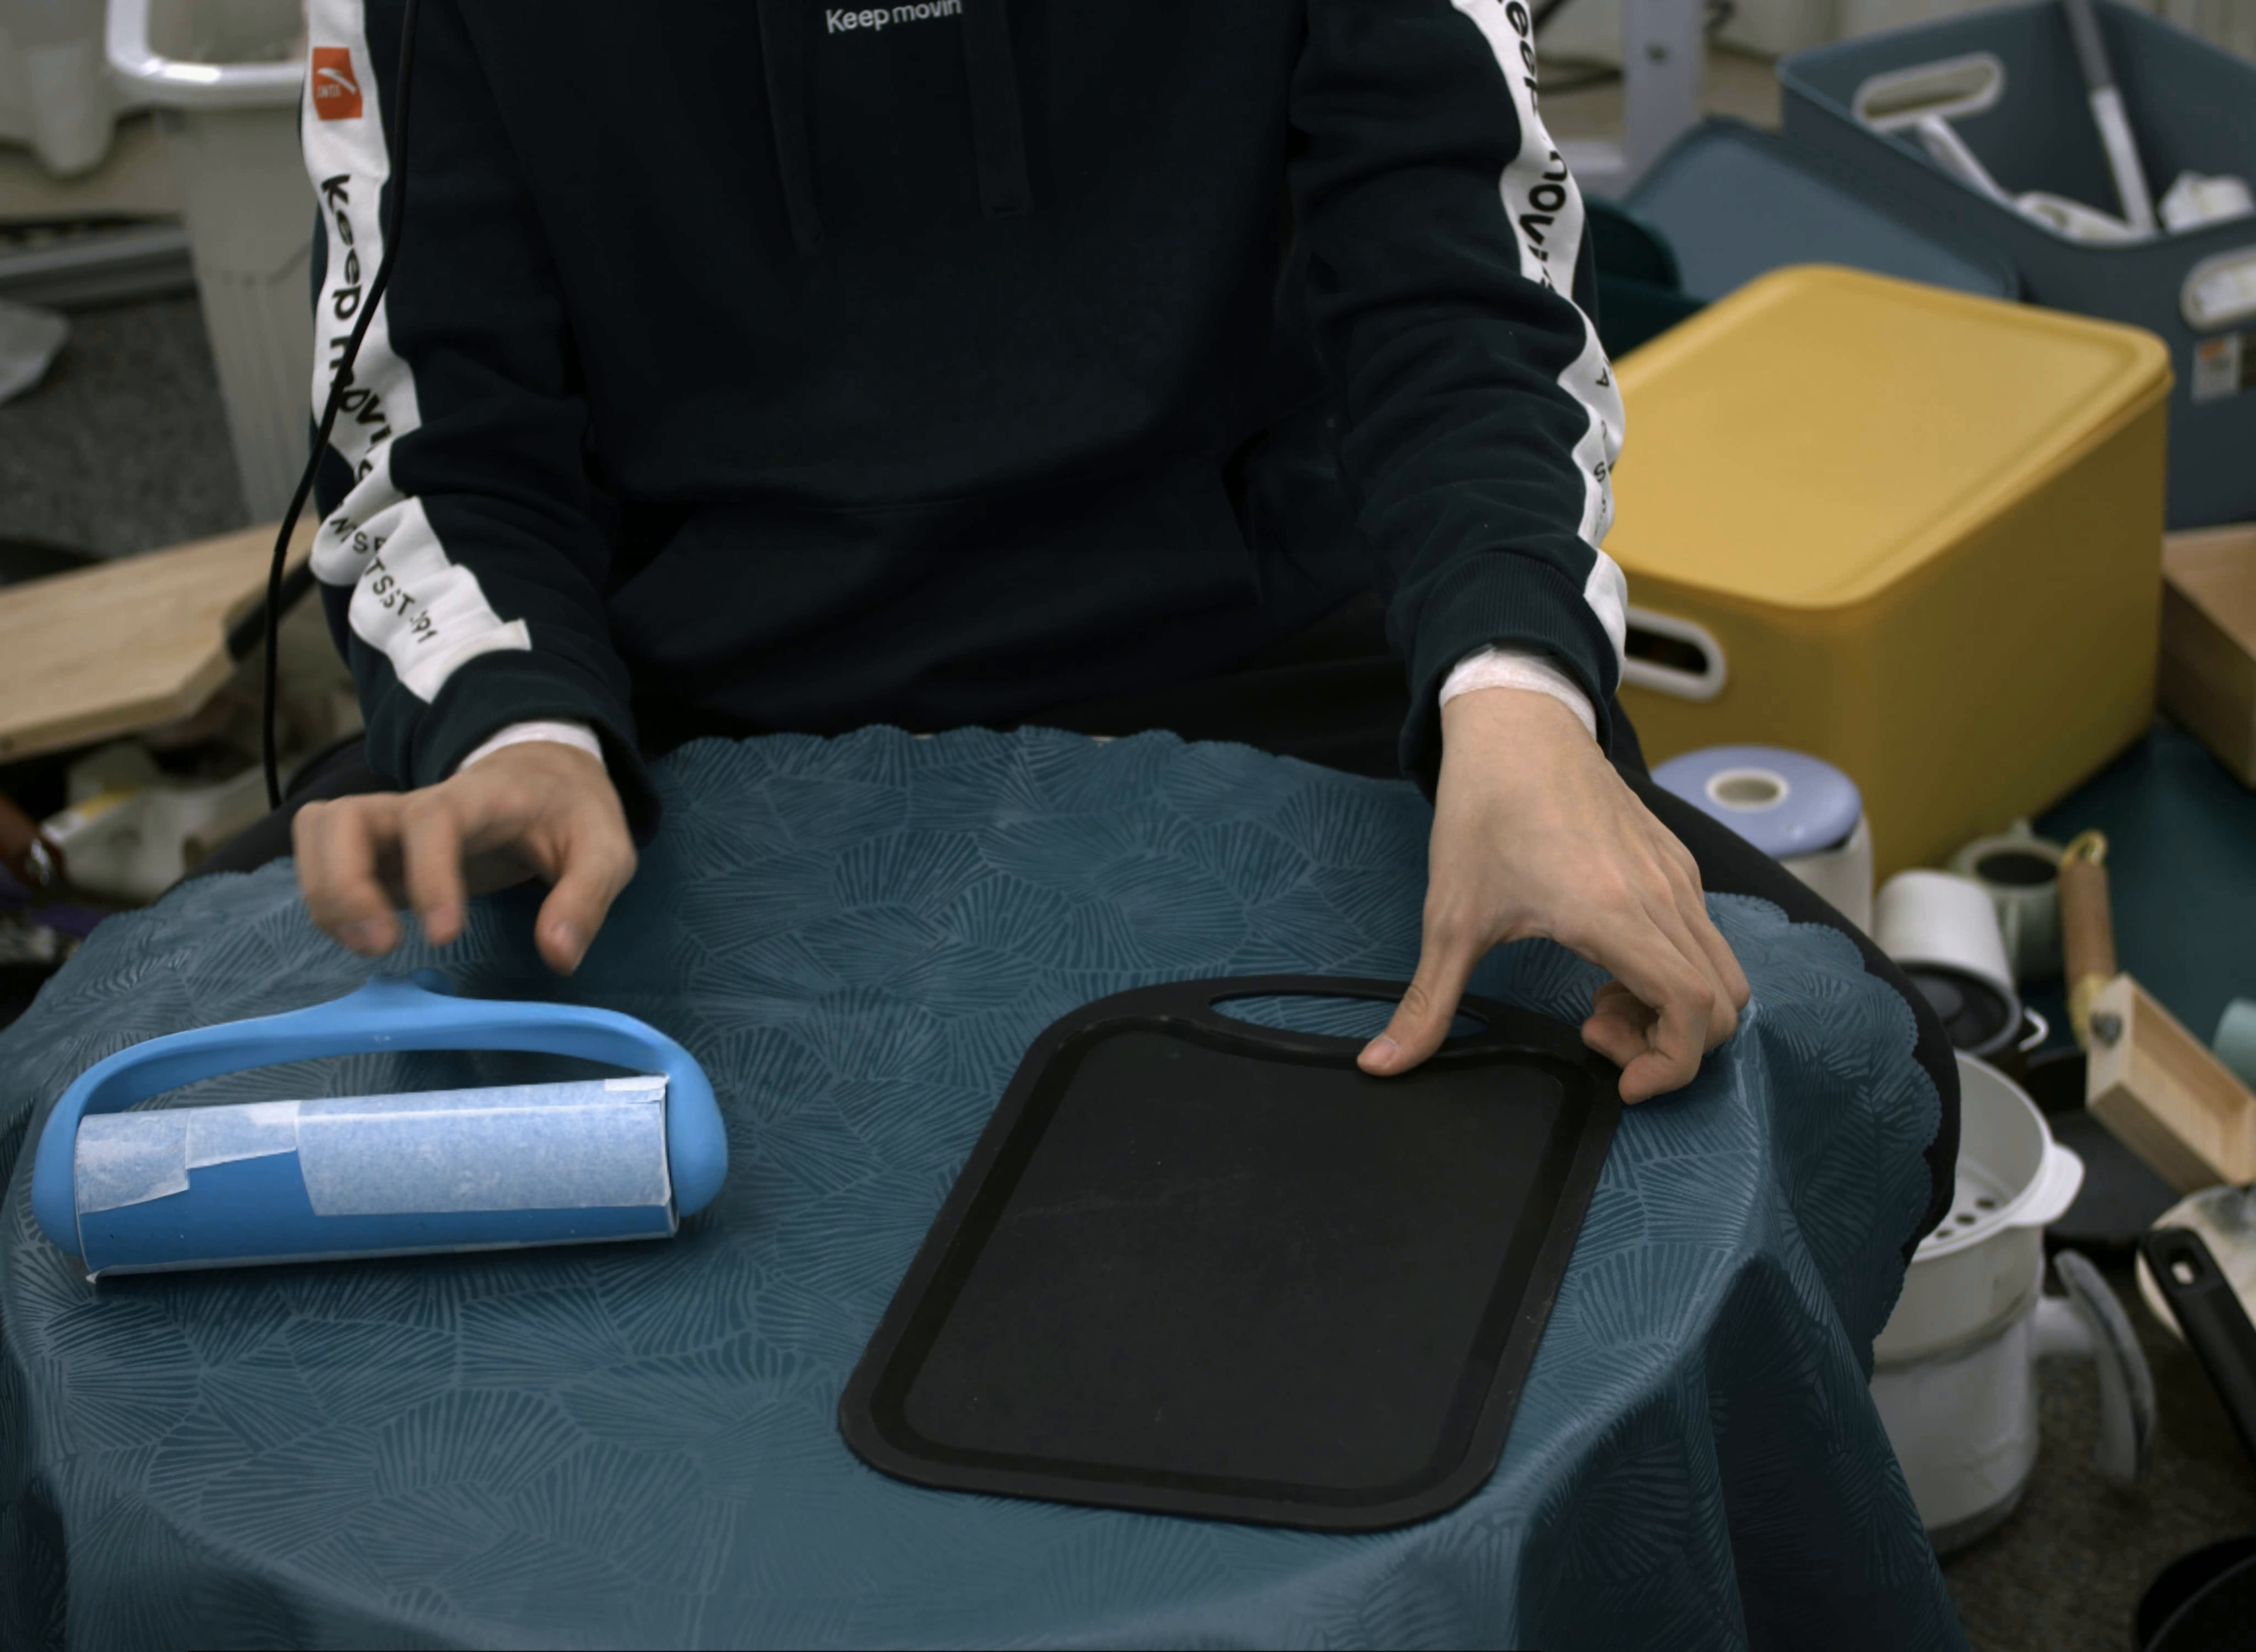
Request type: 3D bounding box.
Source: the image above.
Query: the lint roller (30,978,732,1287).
[{"bbox_3d":[-0.249,0.087,1.890,0.228,0.067,0.183,-6,29,-3],"label":"lint roller"}]

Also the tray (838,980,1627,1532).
[{"bbox_3d":[0.041,0.130,1.834,0.209,0.009,0.331,5,28,15],"label":"tray"}]
